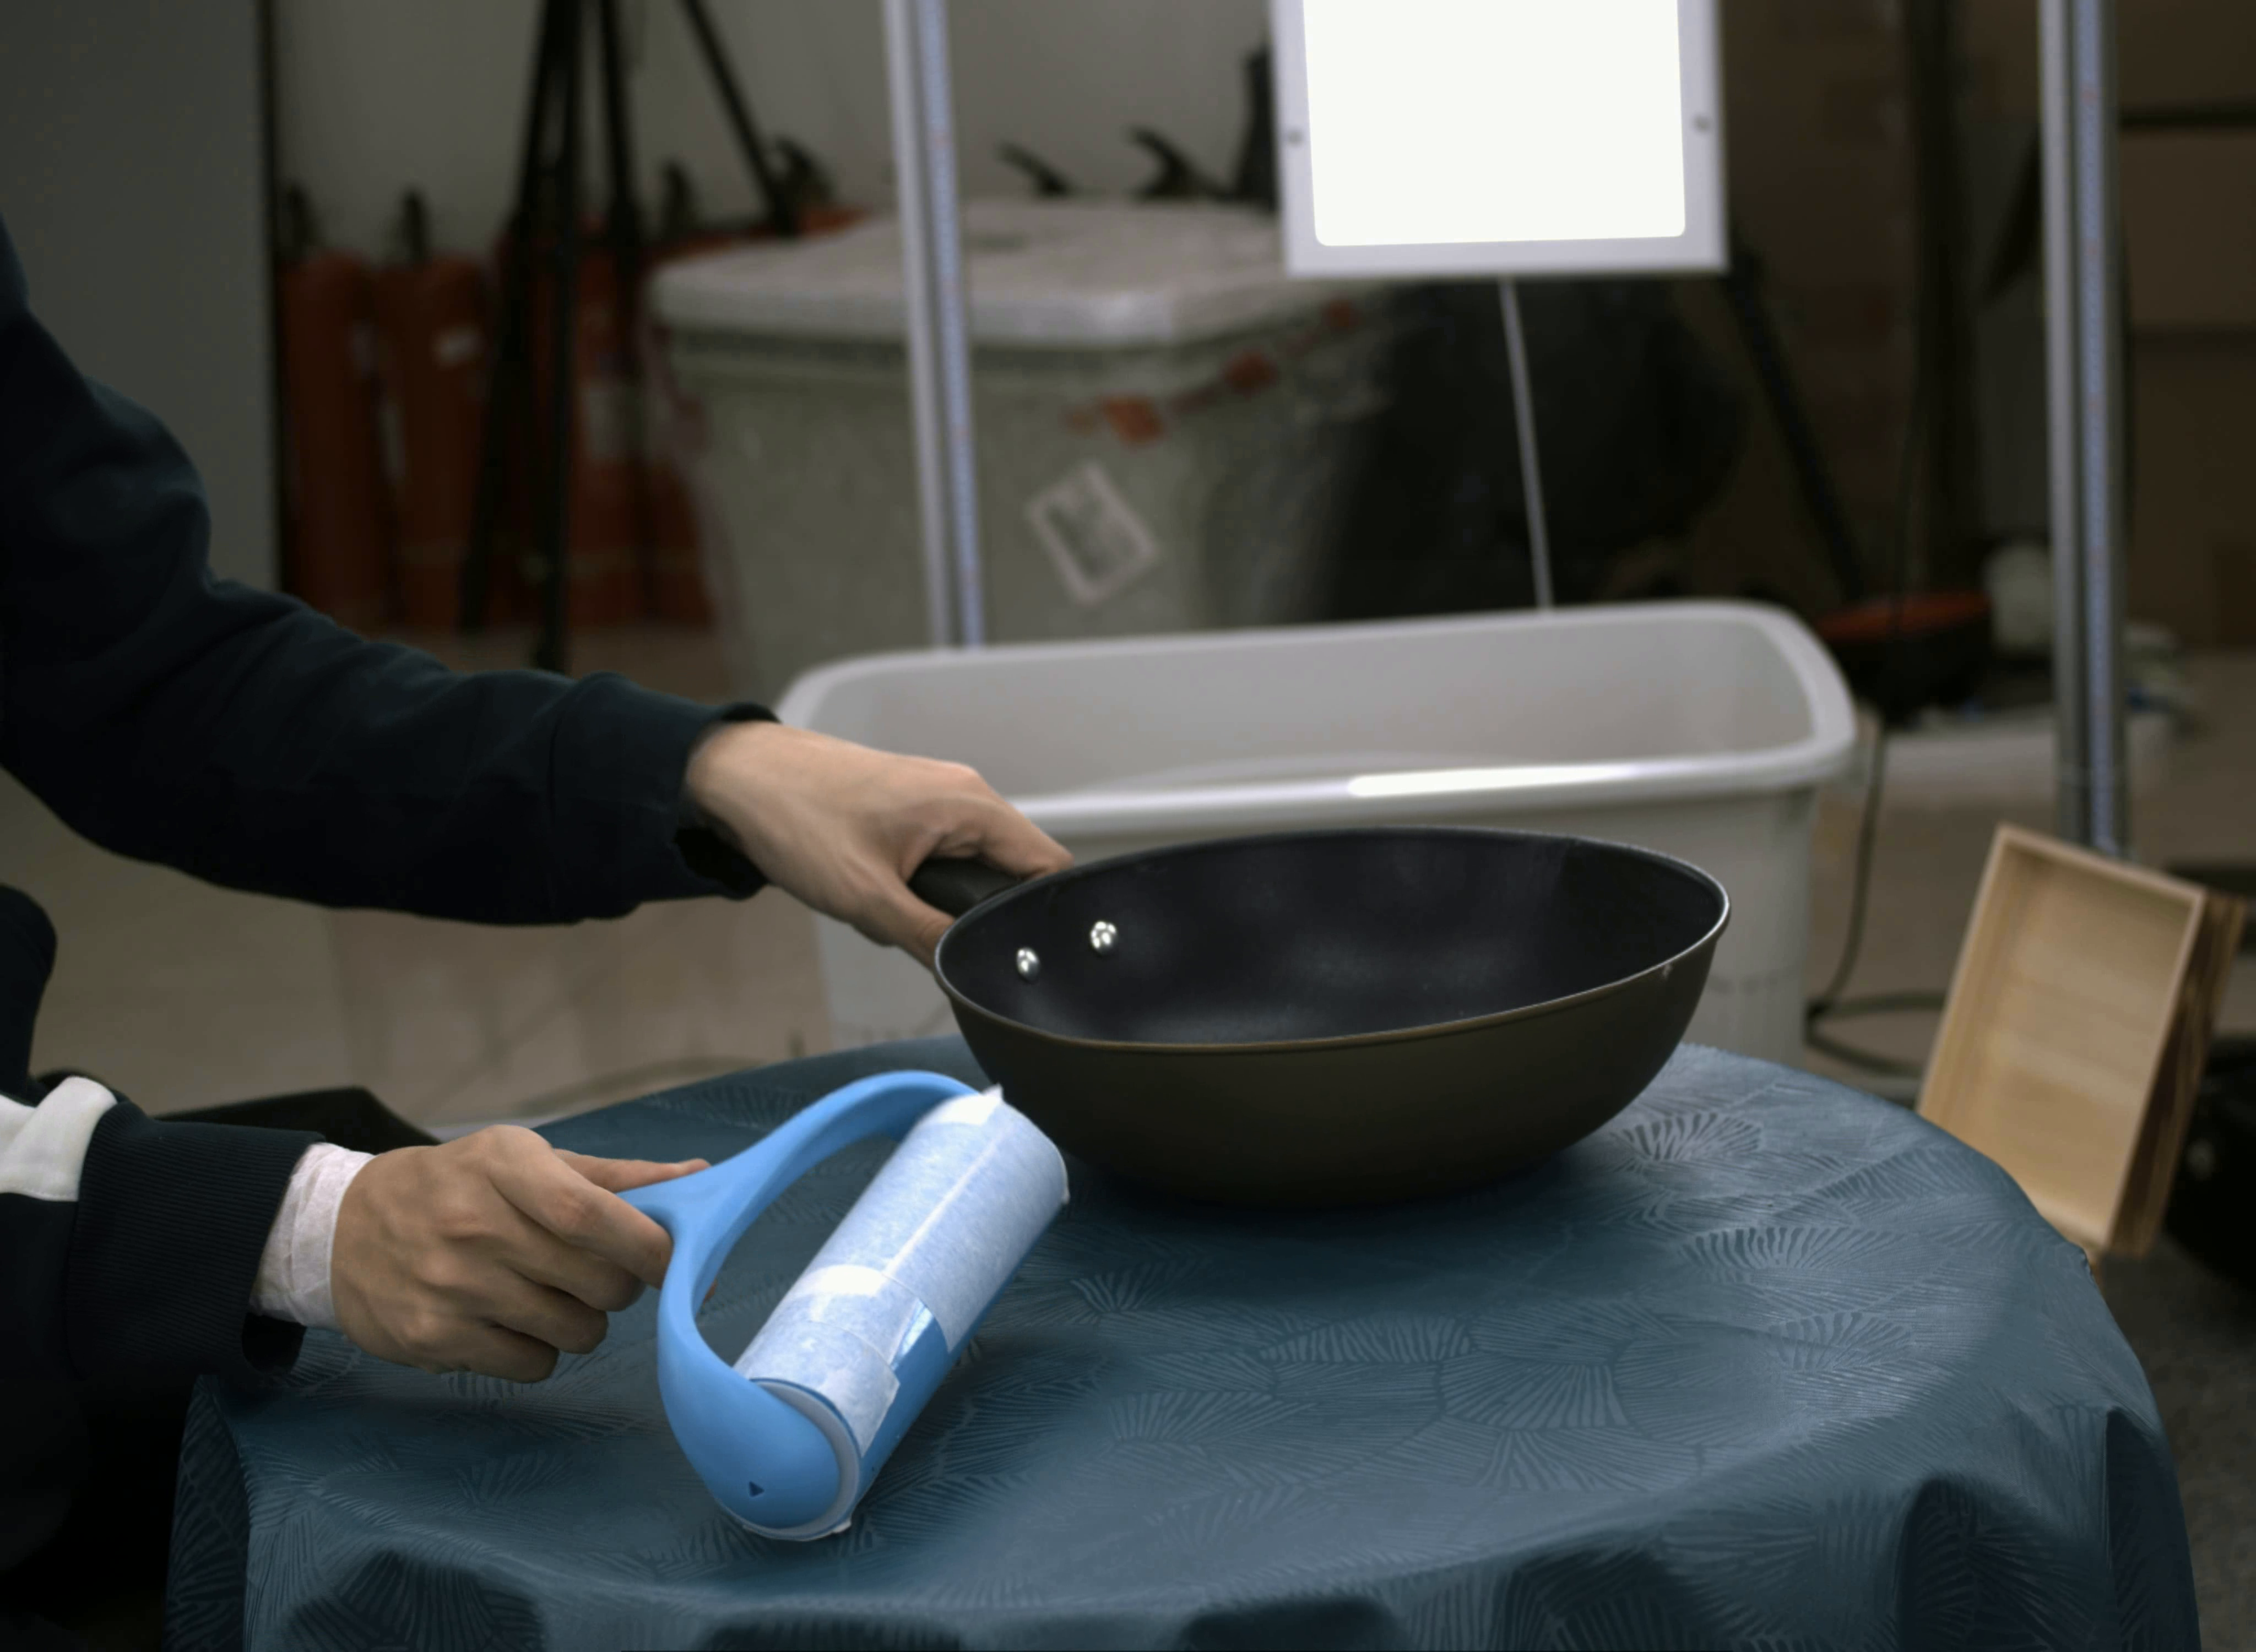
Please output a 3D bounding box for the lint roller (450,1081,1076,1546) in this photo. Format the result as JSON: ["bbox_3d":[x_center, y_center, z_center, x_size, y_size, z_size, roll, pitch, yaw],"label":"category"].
[{"bbox_3d":[-0.126,0.143,1.692,0.182,0.068,0.225,4,25,15],"label":"lint roller"}]

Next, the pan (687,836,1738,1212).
[{"bbox_3d":[0.006,0.064,1.976,0.473,0.087,0.281,7,17,42],"label":"pan"}]
